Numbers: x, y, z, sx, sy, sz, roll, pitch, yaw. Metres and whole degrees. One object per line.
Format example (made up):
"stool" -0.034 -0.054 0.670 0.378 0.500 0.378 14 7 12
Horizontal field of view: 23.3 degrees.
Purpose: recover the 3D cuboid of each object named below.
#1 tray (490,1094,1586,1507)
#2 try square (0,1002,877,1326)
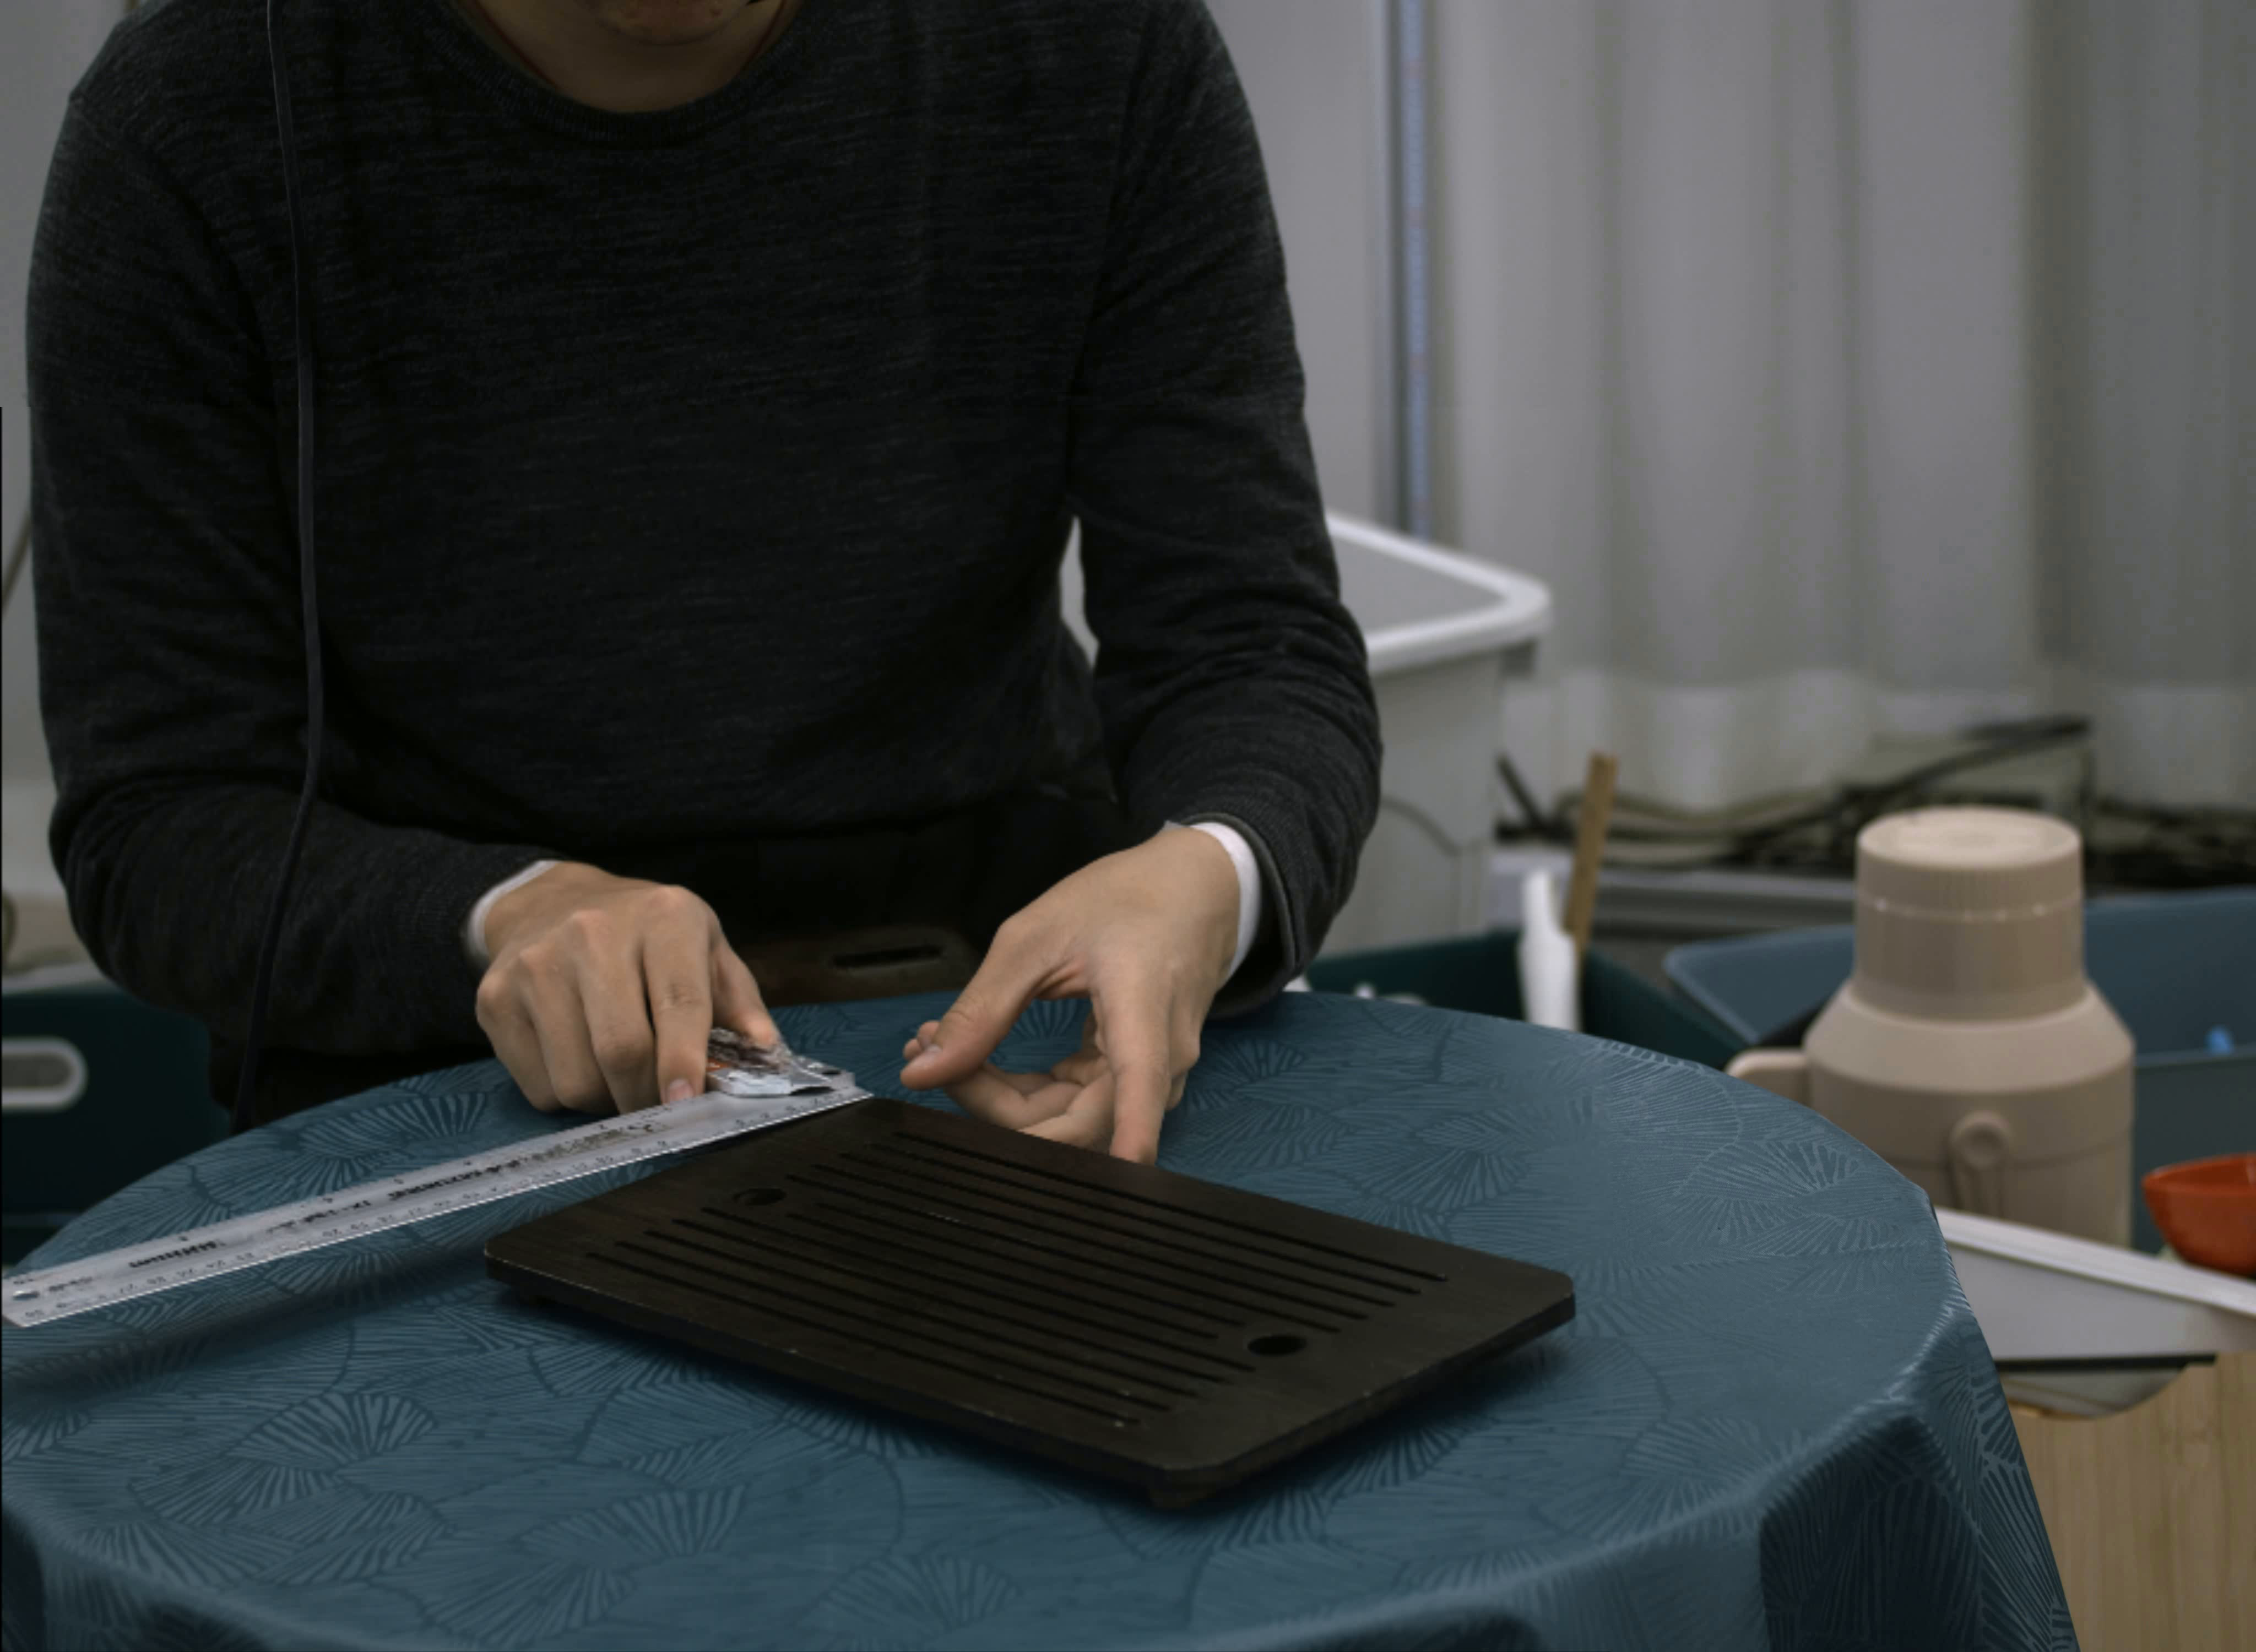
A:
"tray" -0.031 0.135 1.600 0.307 0.018 0.170 11 22 43
"try square" -0.244 0.104 1.716 0.312 0.016 0.153 -13 16 -38
